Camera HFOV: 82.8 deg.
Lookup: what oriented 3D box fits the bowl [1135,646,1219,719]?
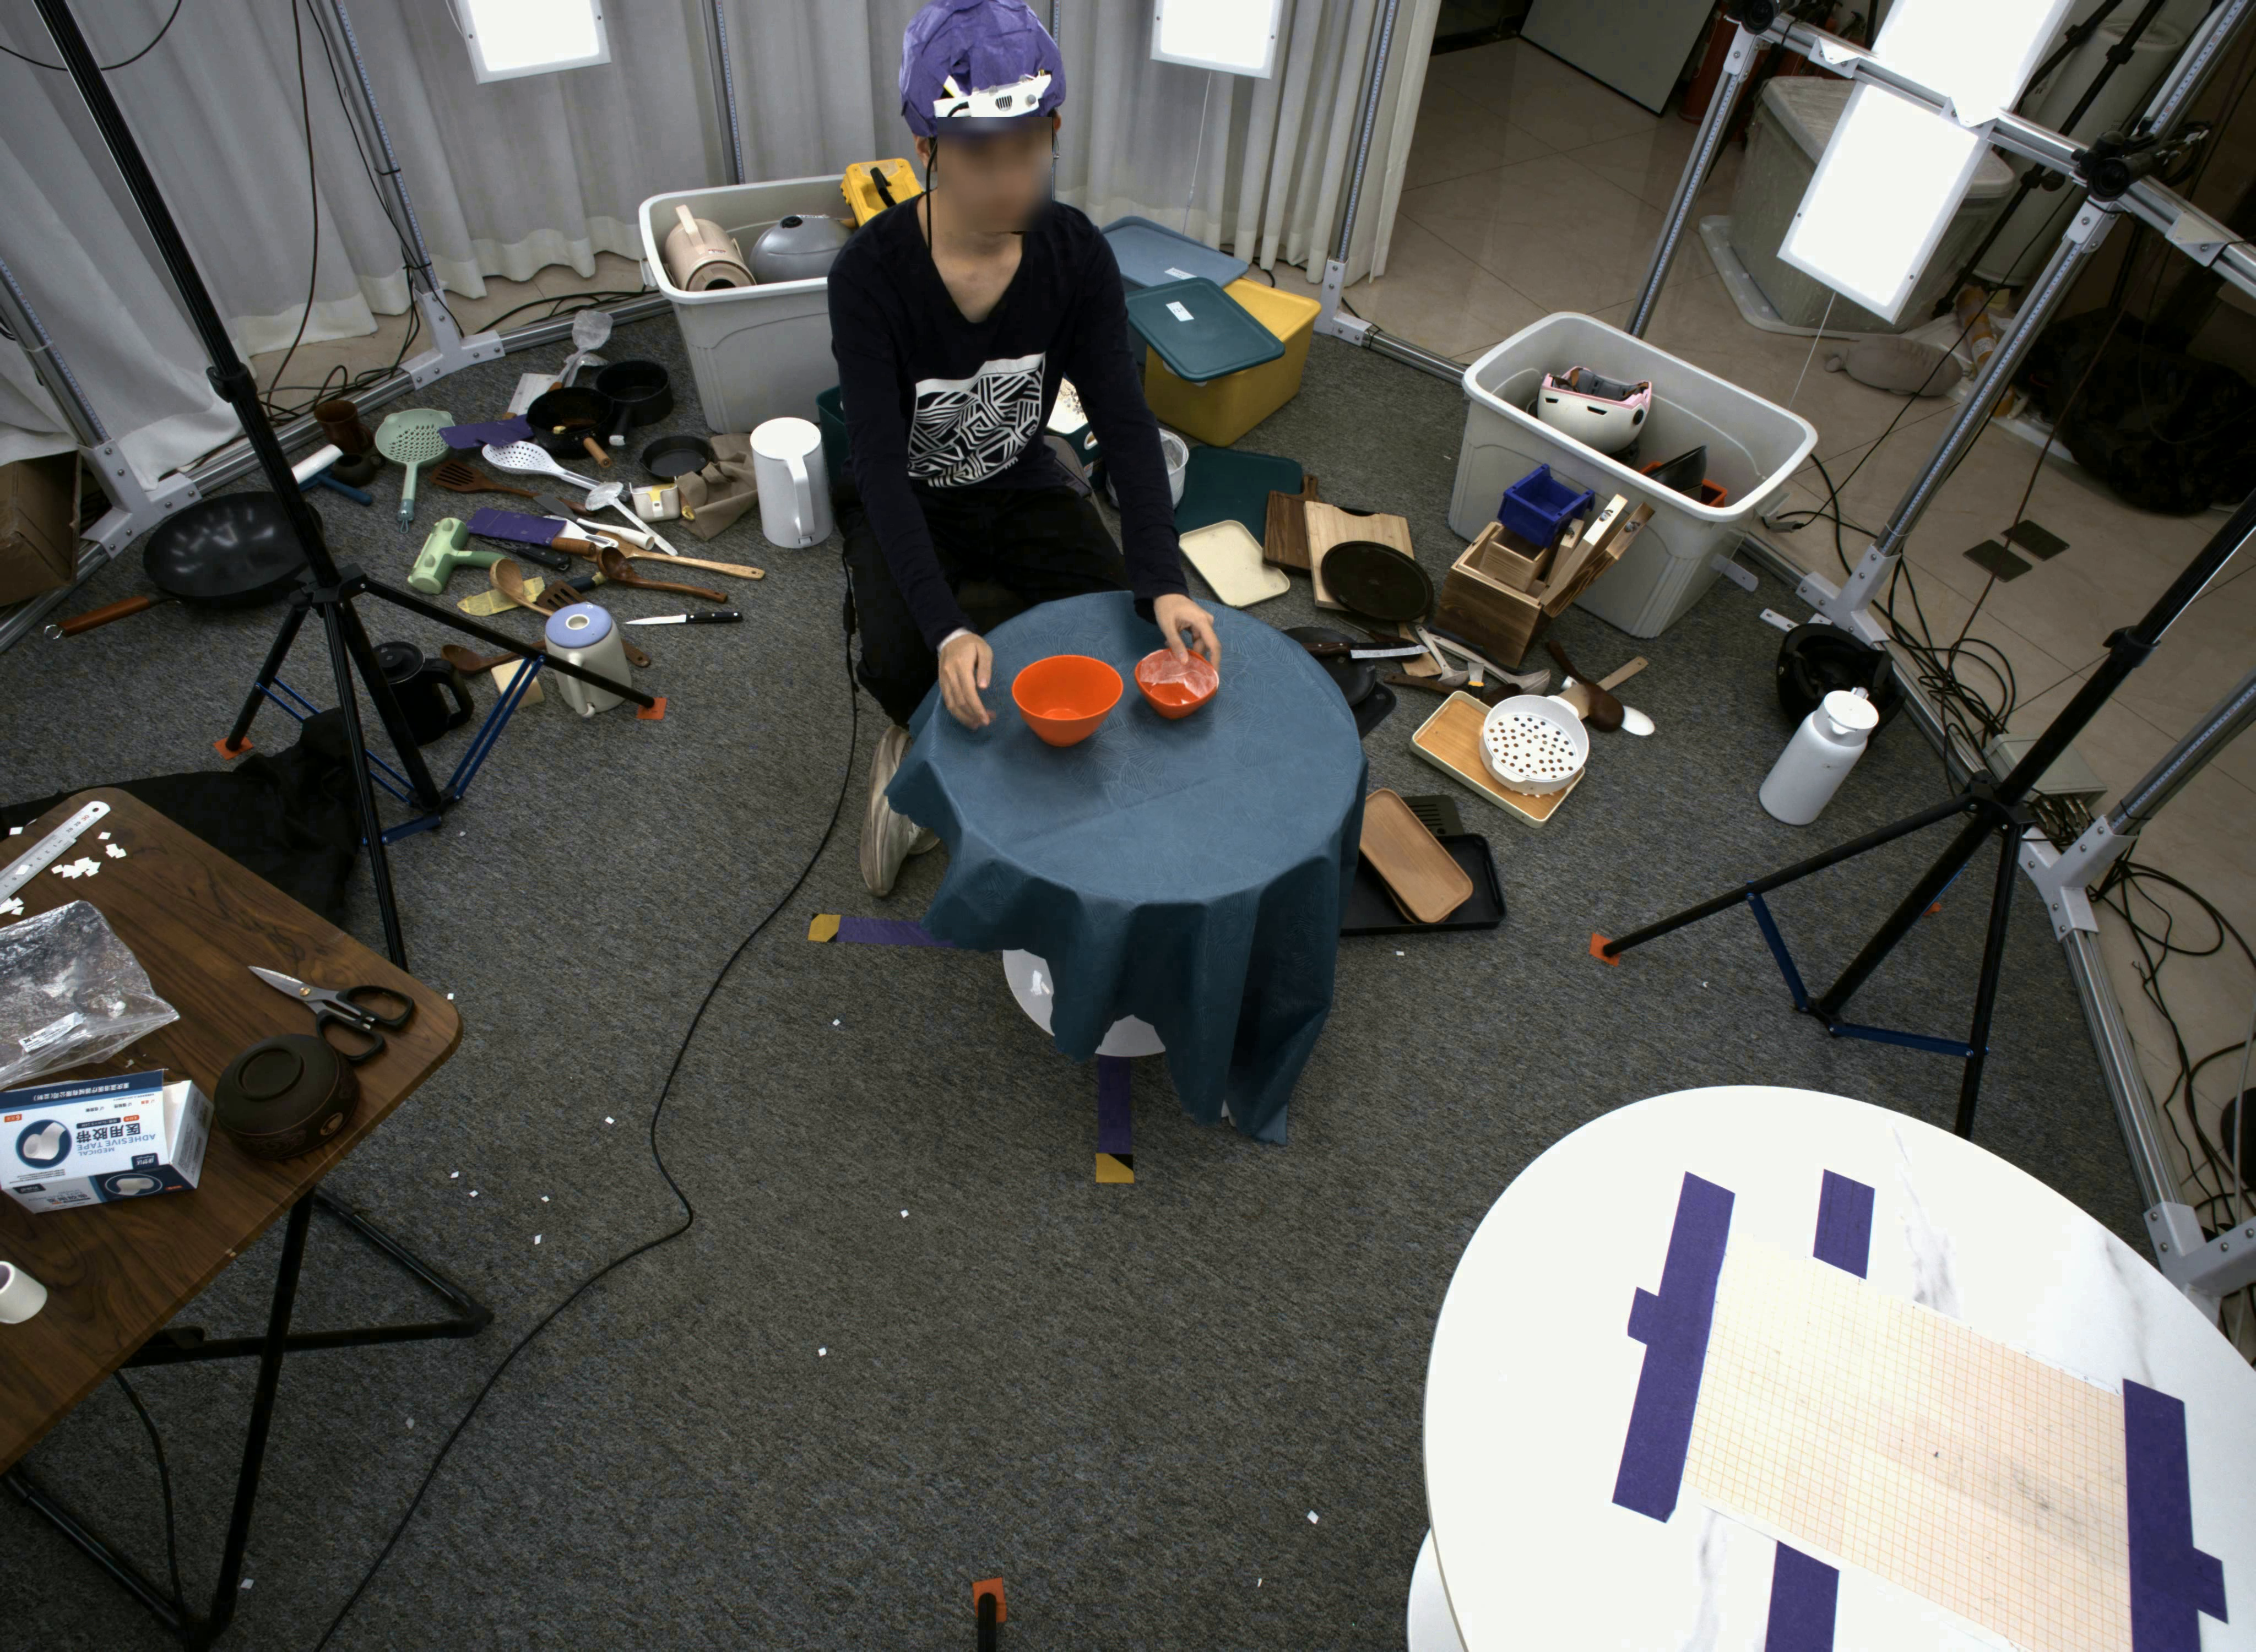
[{"bbox_3d":[0.067,-0.196,1.809,0.119,0.050,0.122,1,51,-2],"label":"bowl"}]

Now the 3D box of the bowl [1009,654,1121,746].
[{"bbox_3d":[-0.086,-0.158,1.733,0.148,0.102,0.152,2,50,-2],"label":"bowl"}]
